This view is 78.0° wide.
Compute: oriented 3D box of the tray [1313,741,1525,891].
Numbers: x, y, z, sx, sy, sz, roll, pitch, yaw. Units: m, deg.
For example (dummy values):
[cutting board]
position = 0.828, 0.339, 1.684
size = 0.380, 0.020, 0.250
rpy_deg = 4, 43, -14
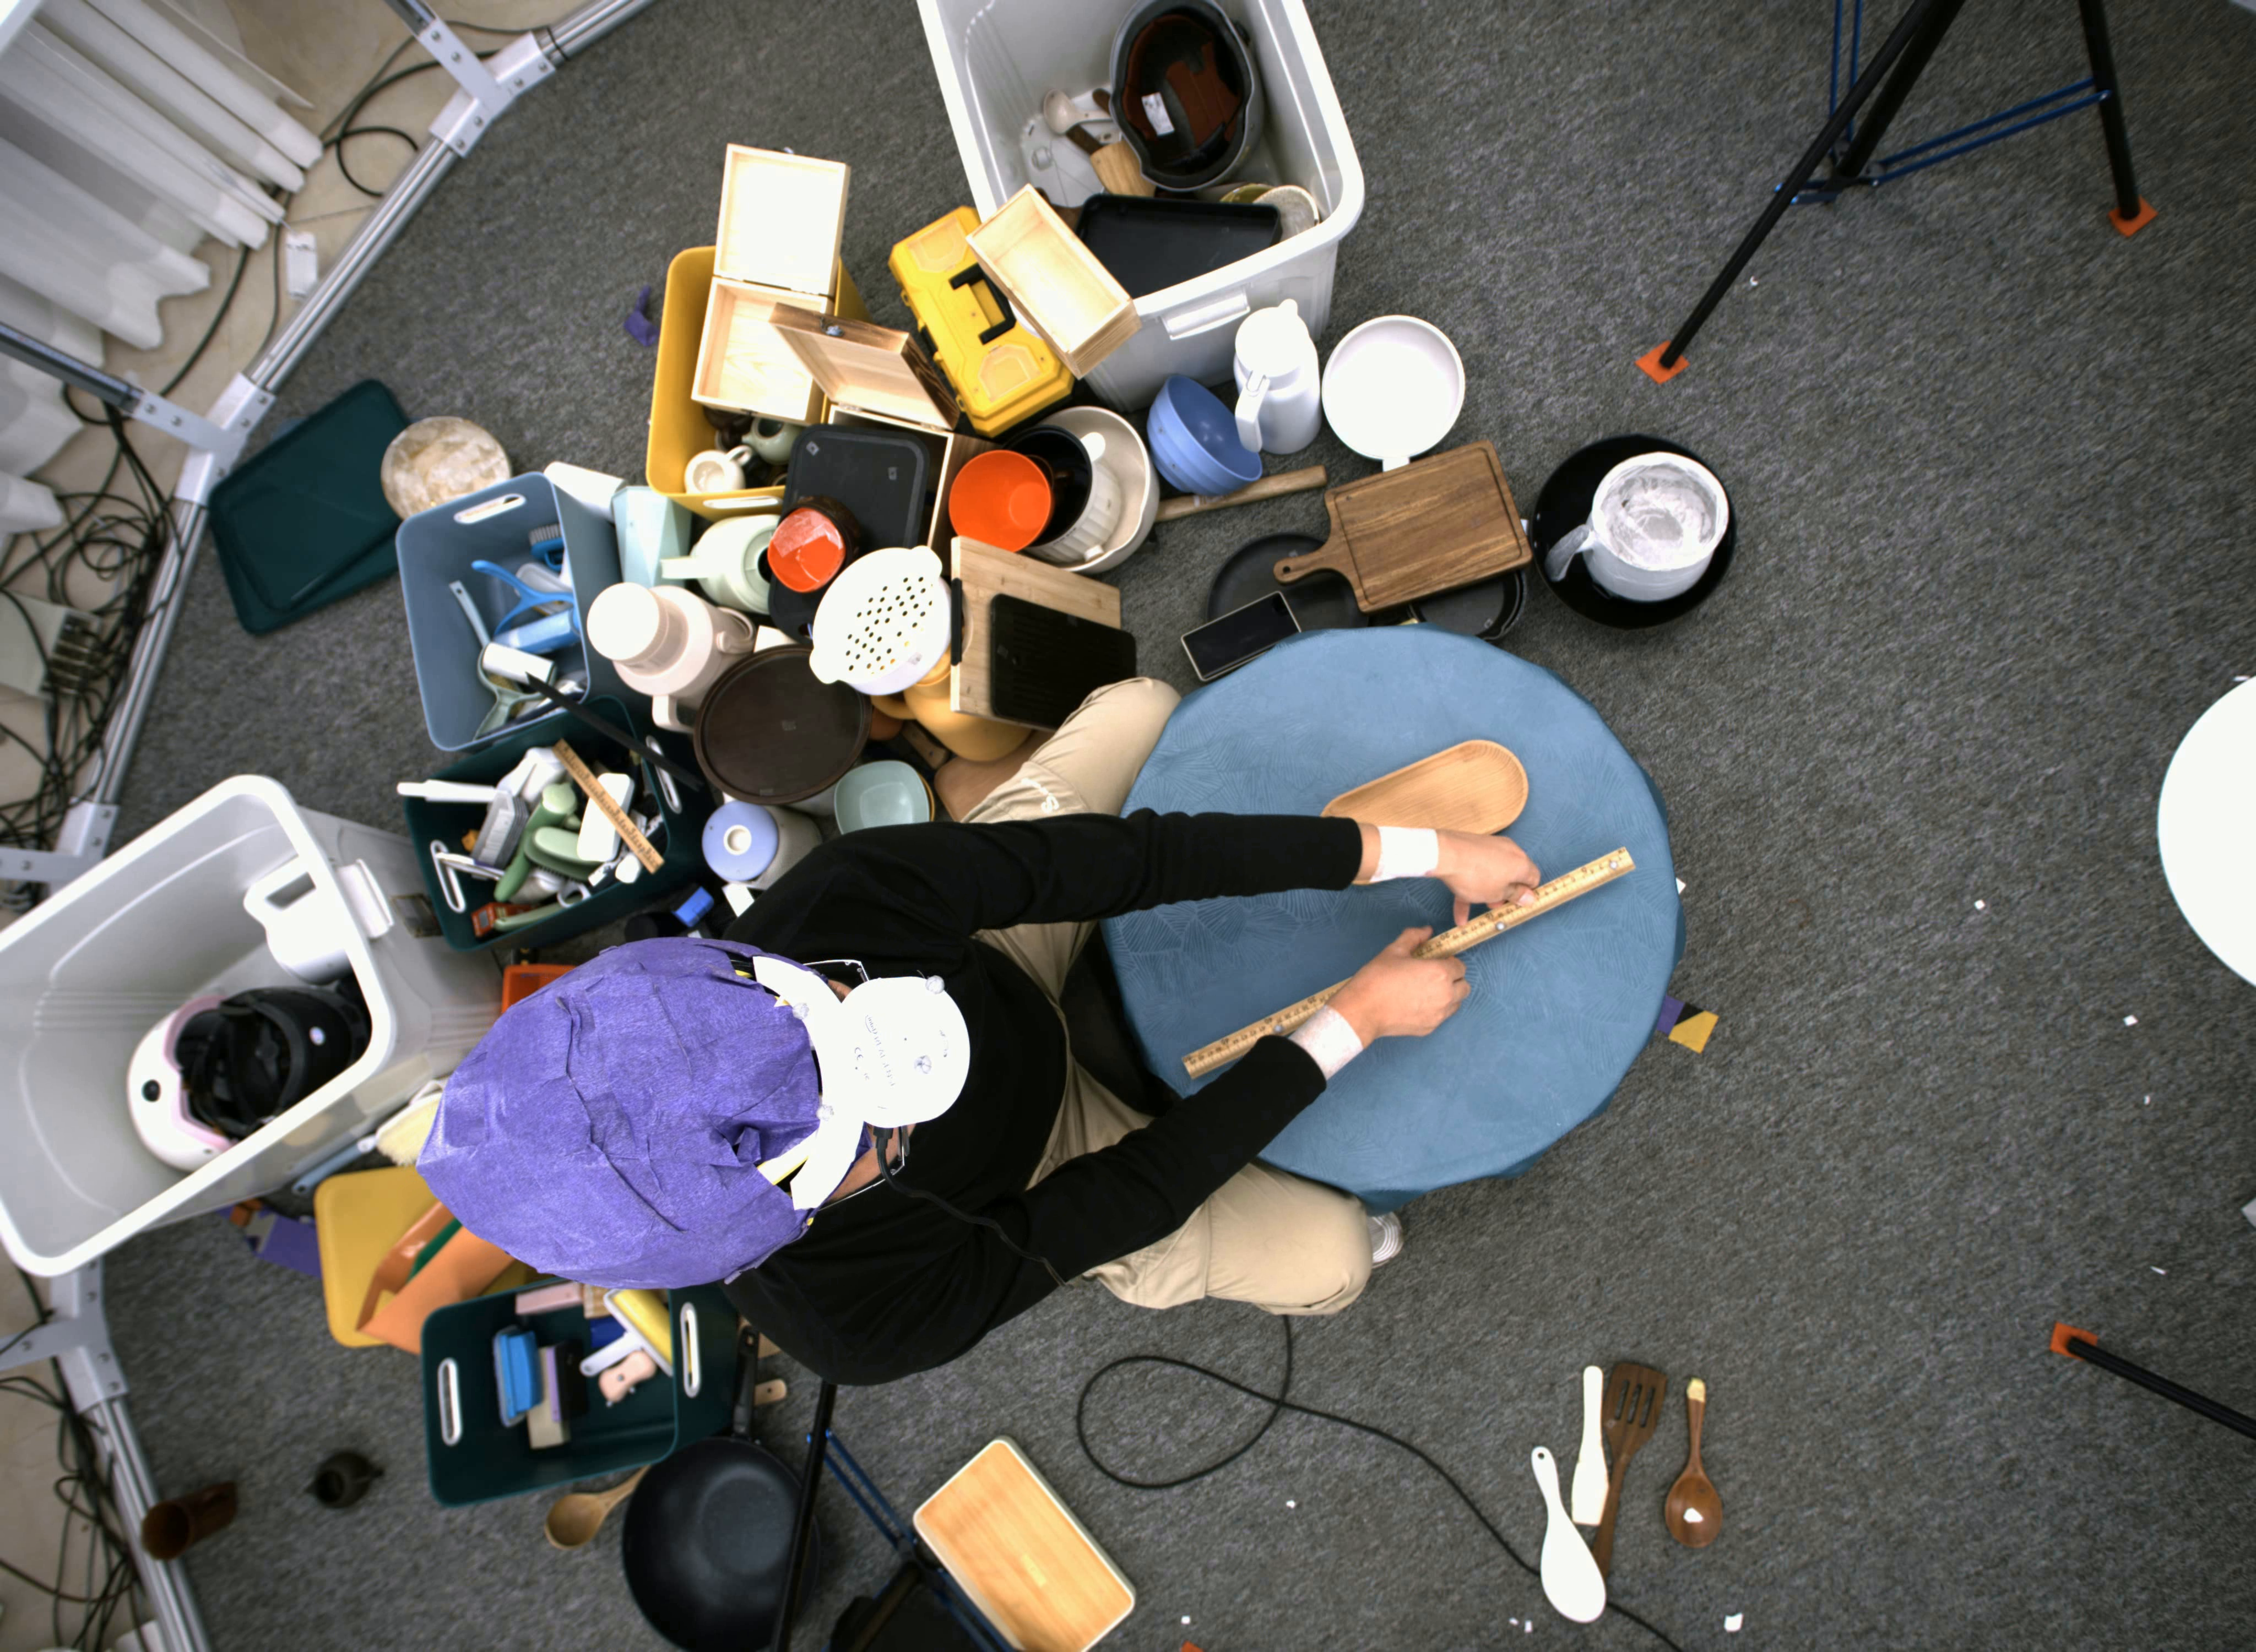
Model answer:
[tray]
position = 0.305, -0.011, 1.450
size = 0.233, 0.020, 0.101
rpy_deg = -26, 81, 10

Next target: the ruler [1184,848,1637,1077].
[ruler]
position = 0.282, 0.140, 1.414
size = 0.504, 0.006, 0.026
rpy_deg = -27, 78, 11
